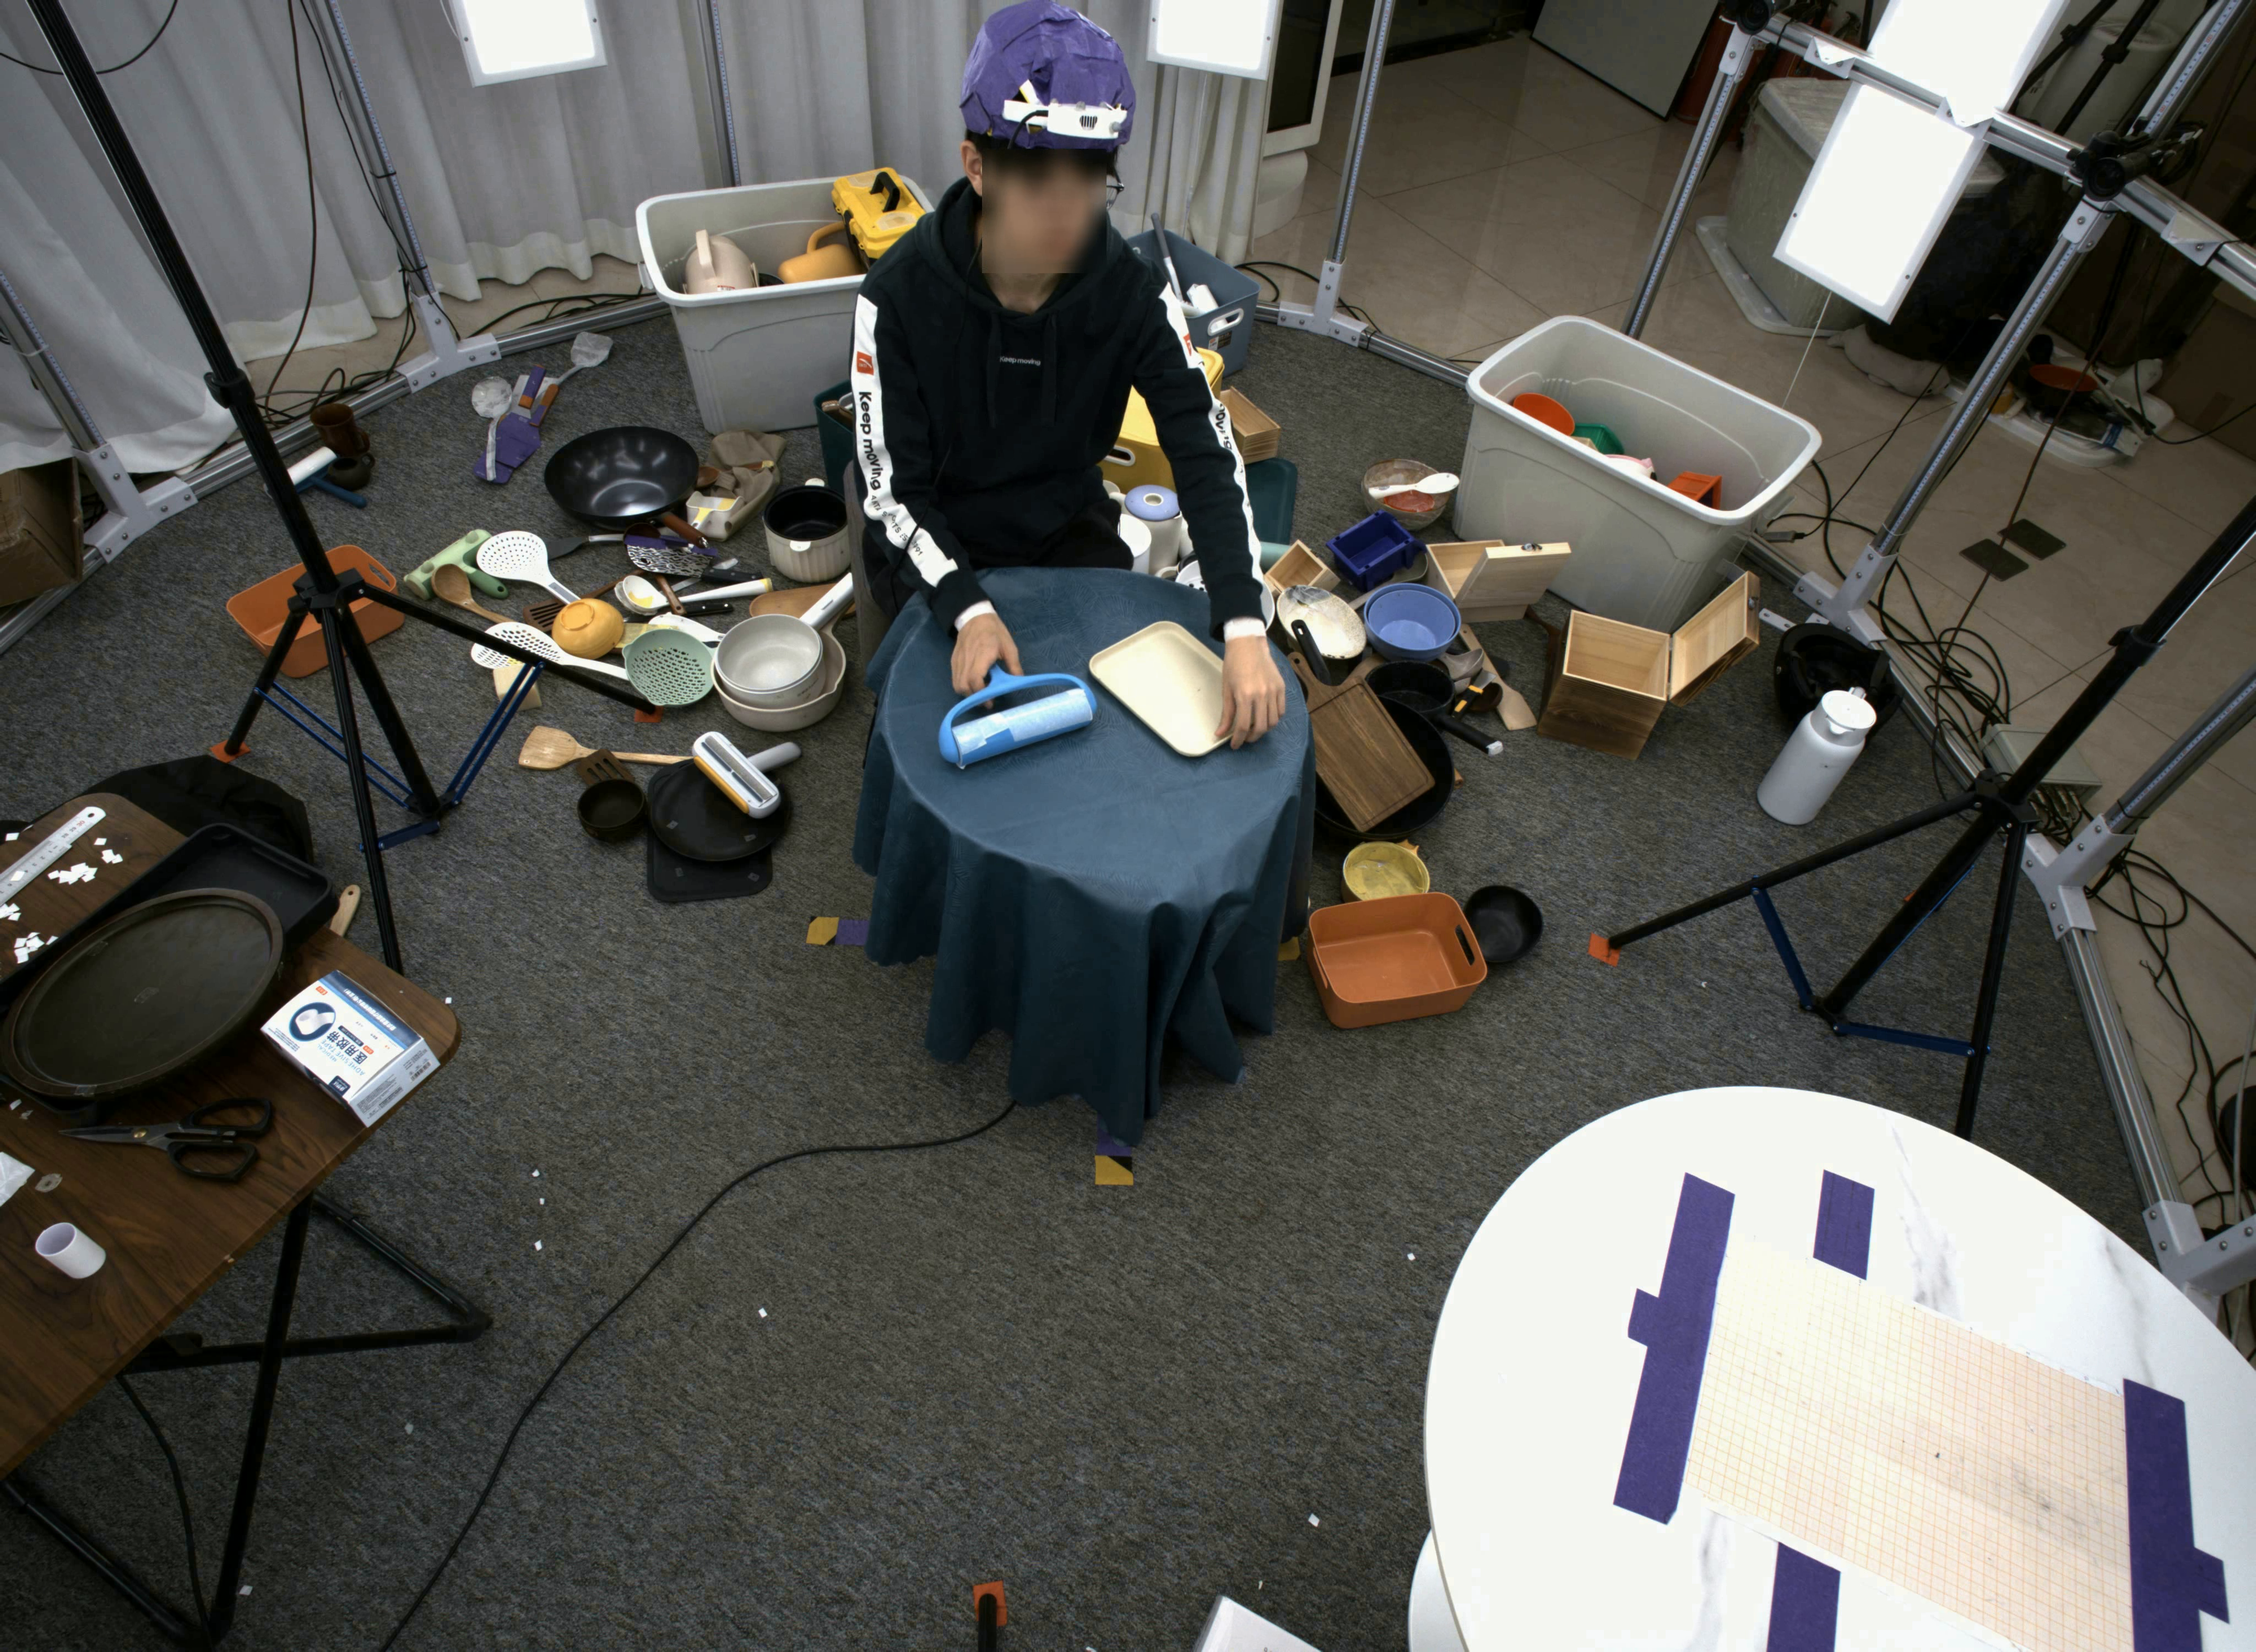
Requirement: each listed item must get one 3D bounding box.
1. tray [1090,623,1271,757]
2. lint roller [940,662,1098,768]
[{"bbox_3d":[0.073,-0.196,1.831,0.172,0.017,0.244,-30,57,-27],"label":"tray"},{"bbox_3d":[-0.174,-0.178,1.770,0.229,0.066,0.184,-23,58,-20],"label":"lint roller"}]
